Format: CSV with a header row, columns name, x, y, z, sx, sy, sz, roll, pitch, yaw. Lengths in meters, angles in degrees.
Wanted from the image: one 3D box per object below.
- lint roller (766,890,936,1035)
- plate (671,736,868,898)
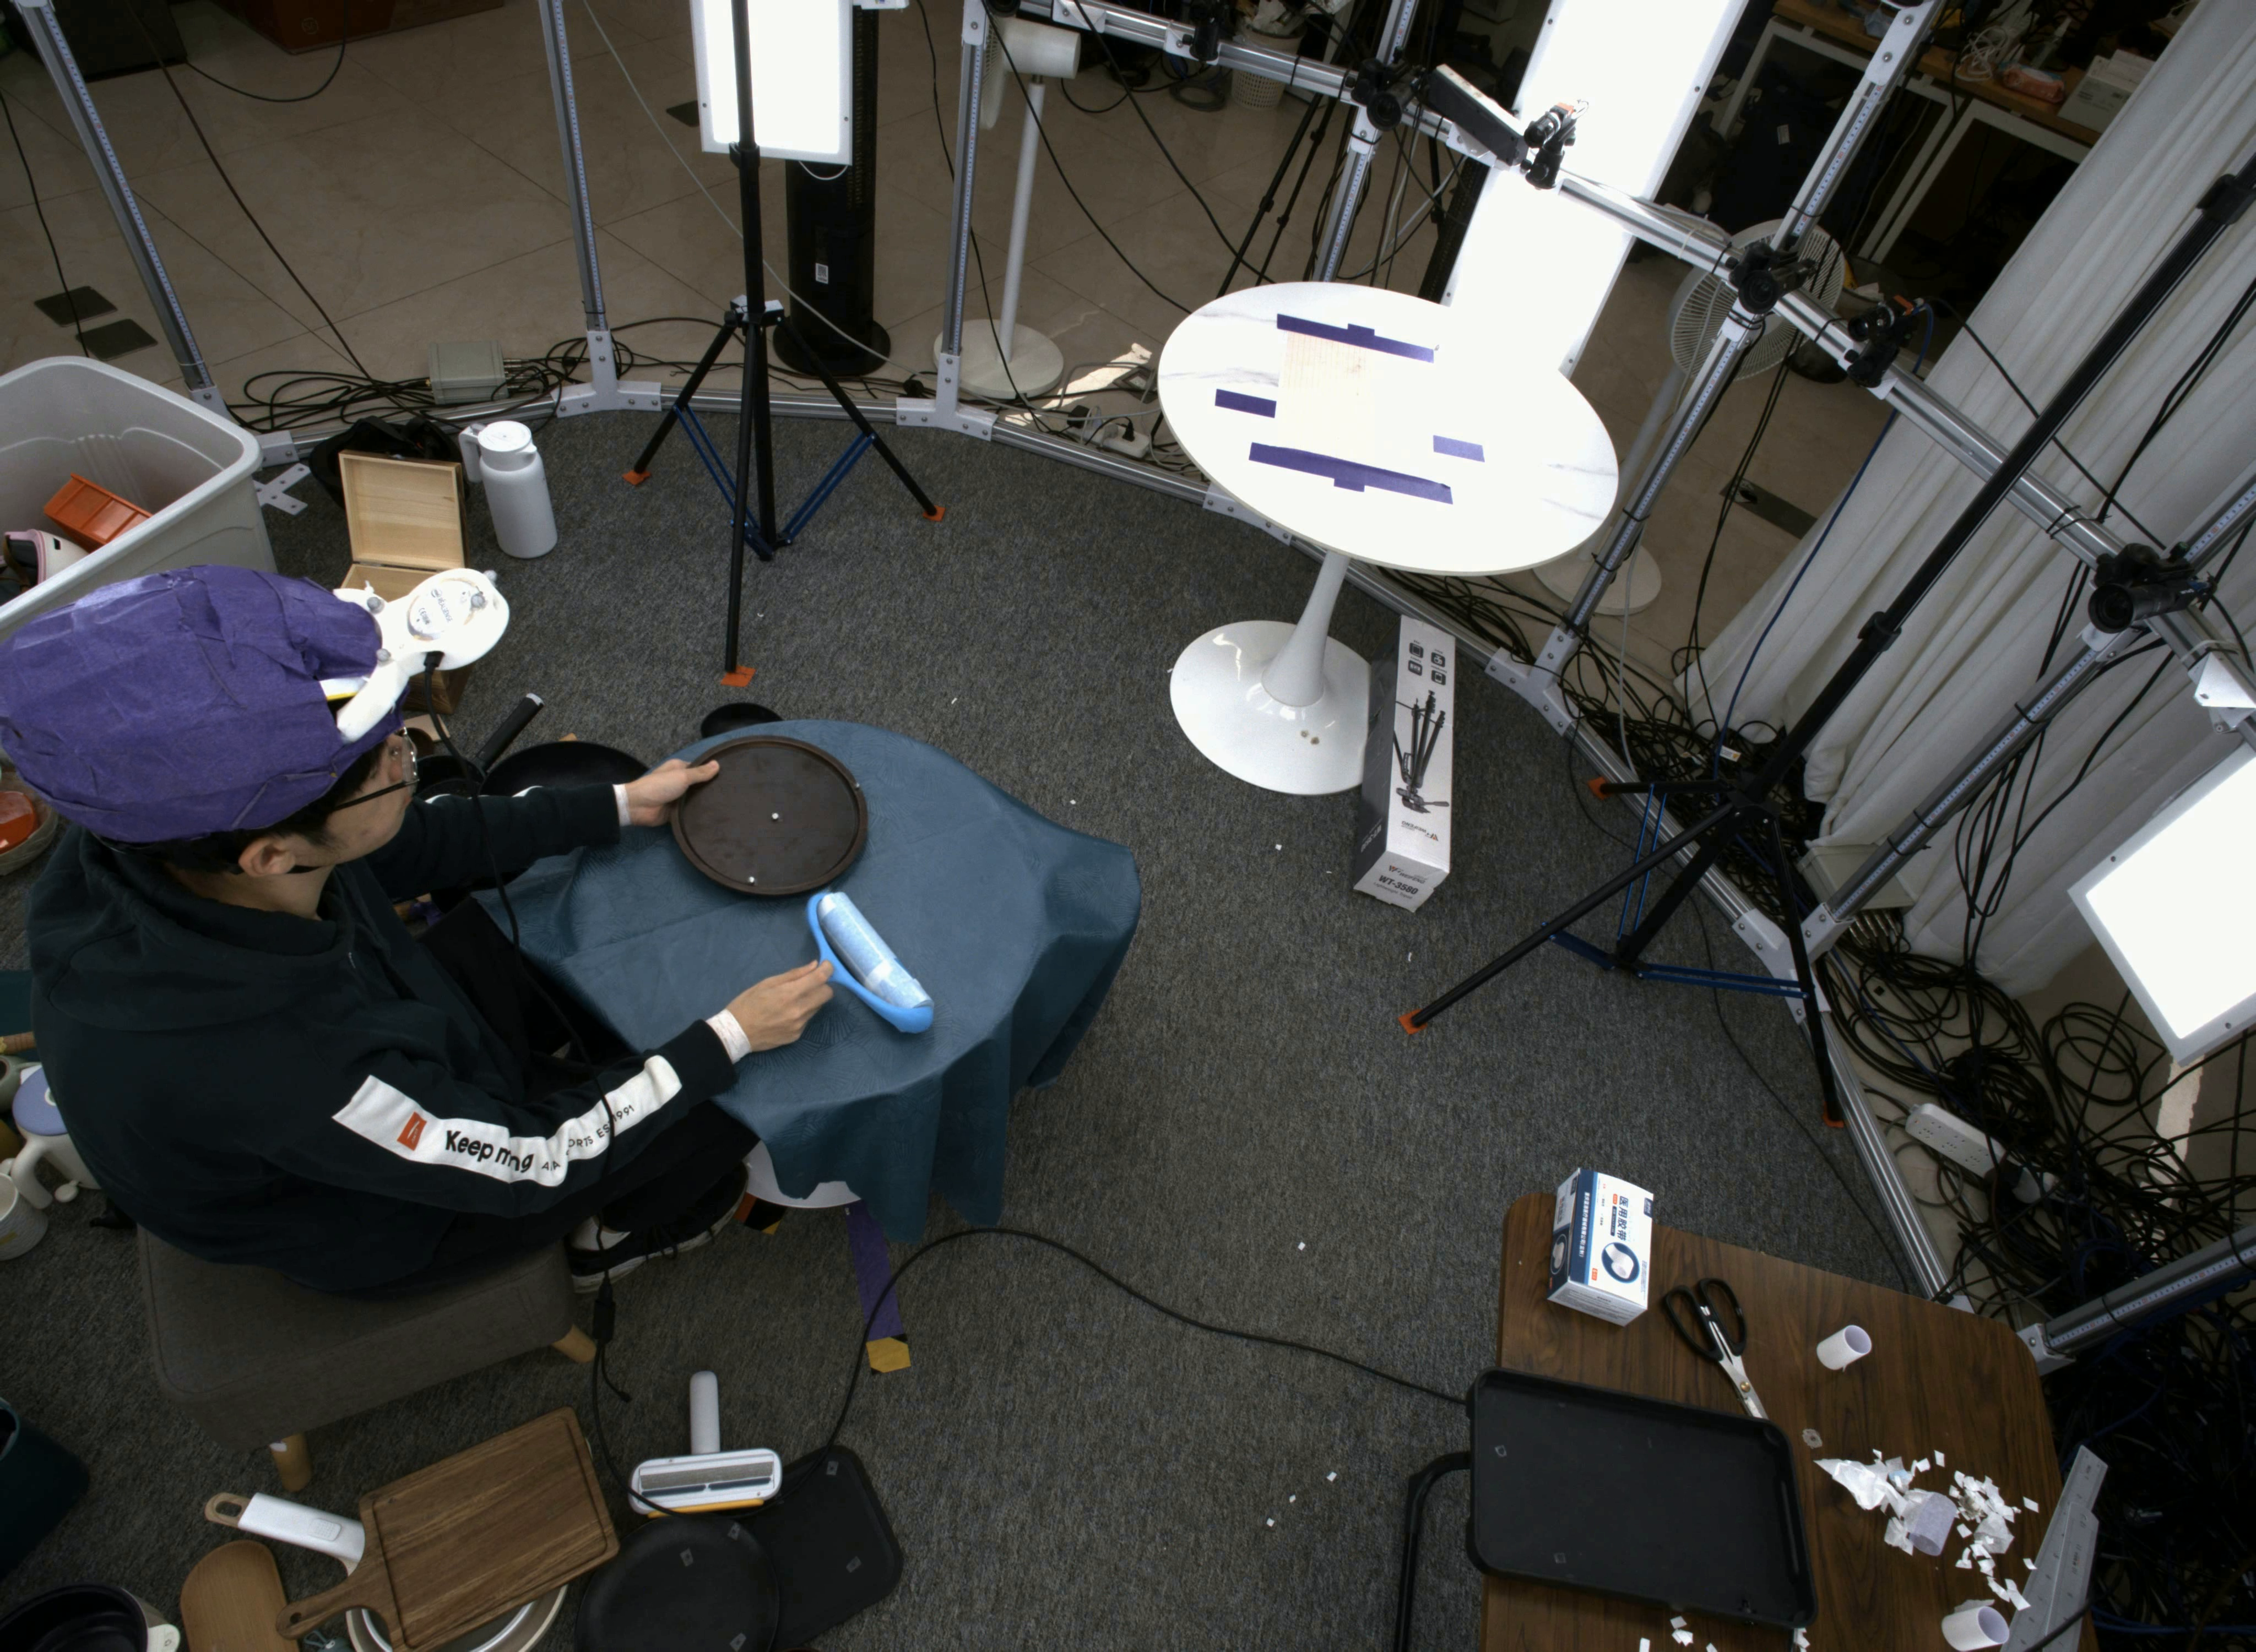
name,x,y,z,sx,sy,sz,roll,pitch,yaw
lint roller,-0.356,0.186,1.566,0.181,0.069,0.224,-33,68,-34
plate,-0.469,-0.014,1.698,0.256,0.029,0.250,12,52,-14
